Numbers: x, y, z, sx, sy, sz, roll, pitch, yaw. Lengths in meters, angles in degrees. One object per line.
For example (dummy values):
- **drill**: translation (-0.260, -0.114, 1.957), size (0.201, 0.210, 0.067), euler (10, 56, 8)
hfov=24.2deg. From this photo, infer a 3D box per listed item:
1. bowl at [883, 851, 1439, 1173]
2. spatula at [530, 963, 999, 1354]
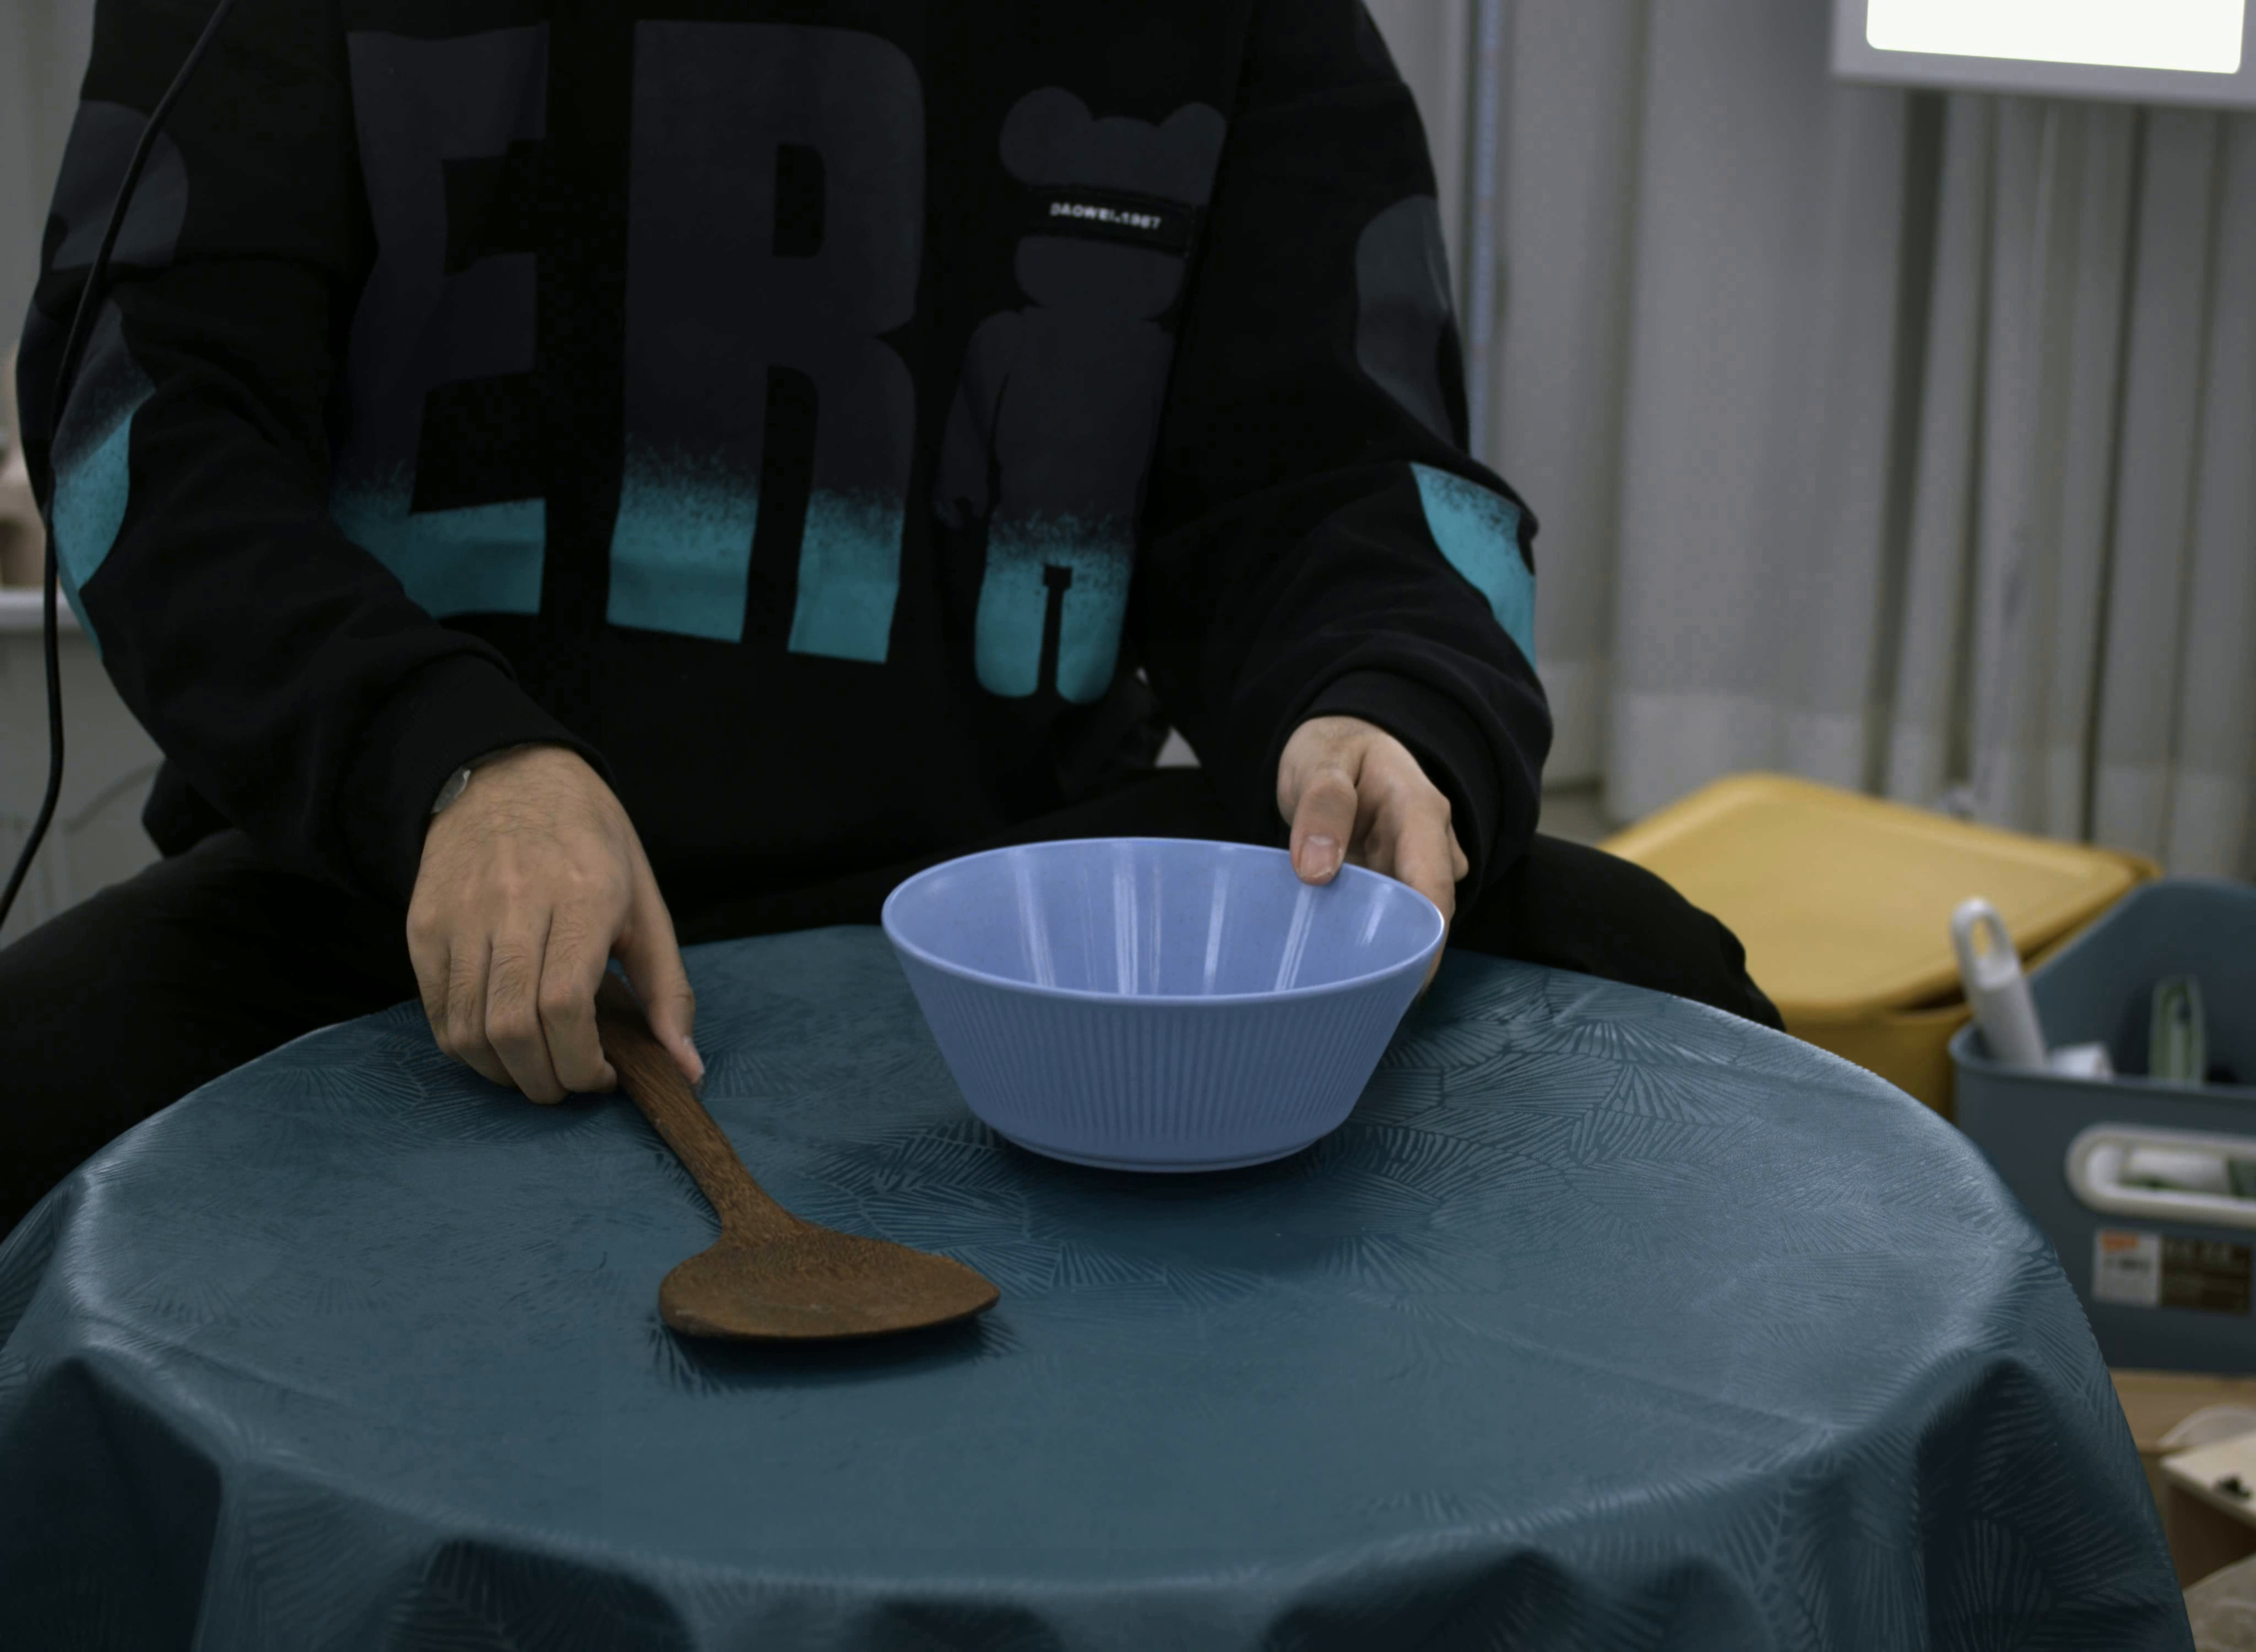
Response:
- **bowl**: translation (0.010, 0.060, 1.655), size (0.175, 0.071, 0.175), euler (1, 14, 0)
- **spatula**: translation (-0.136, 0.097, 1.648), size (0.096, 0.016, 0.382), euler (-4, 17, -18)
